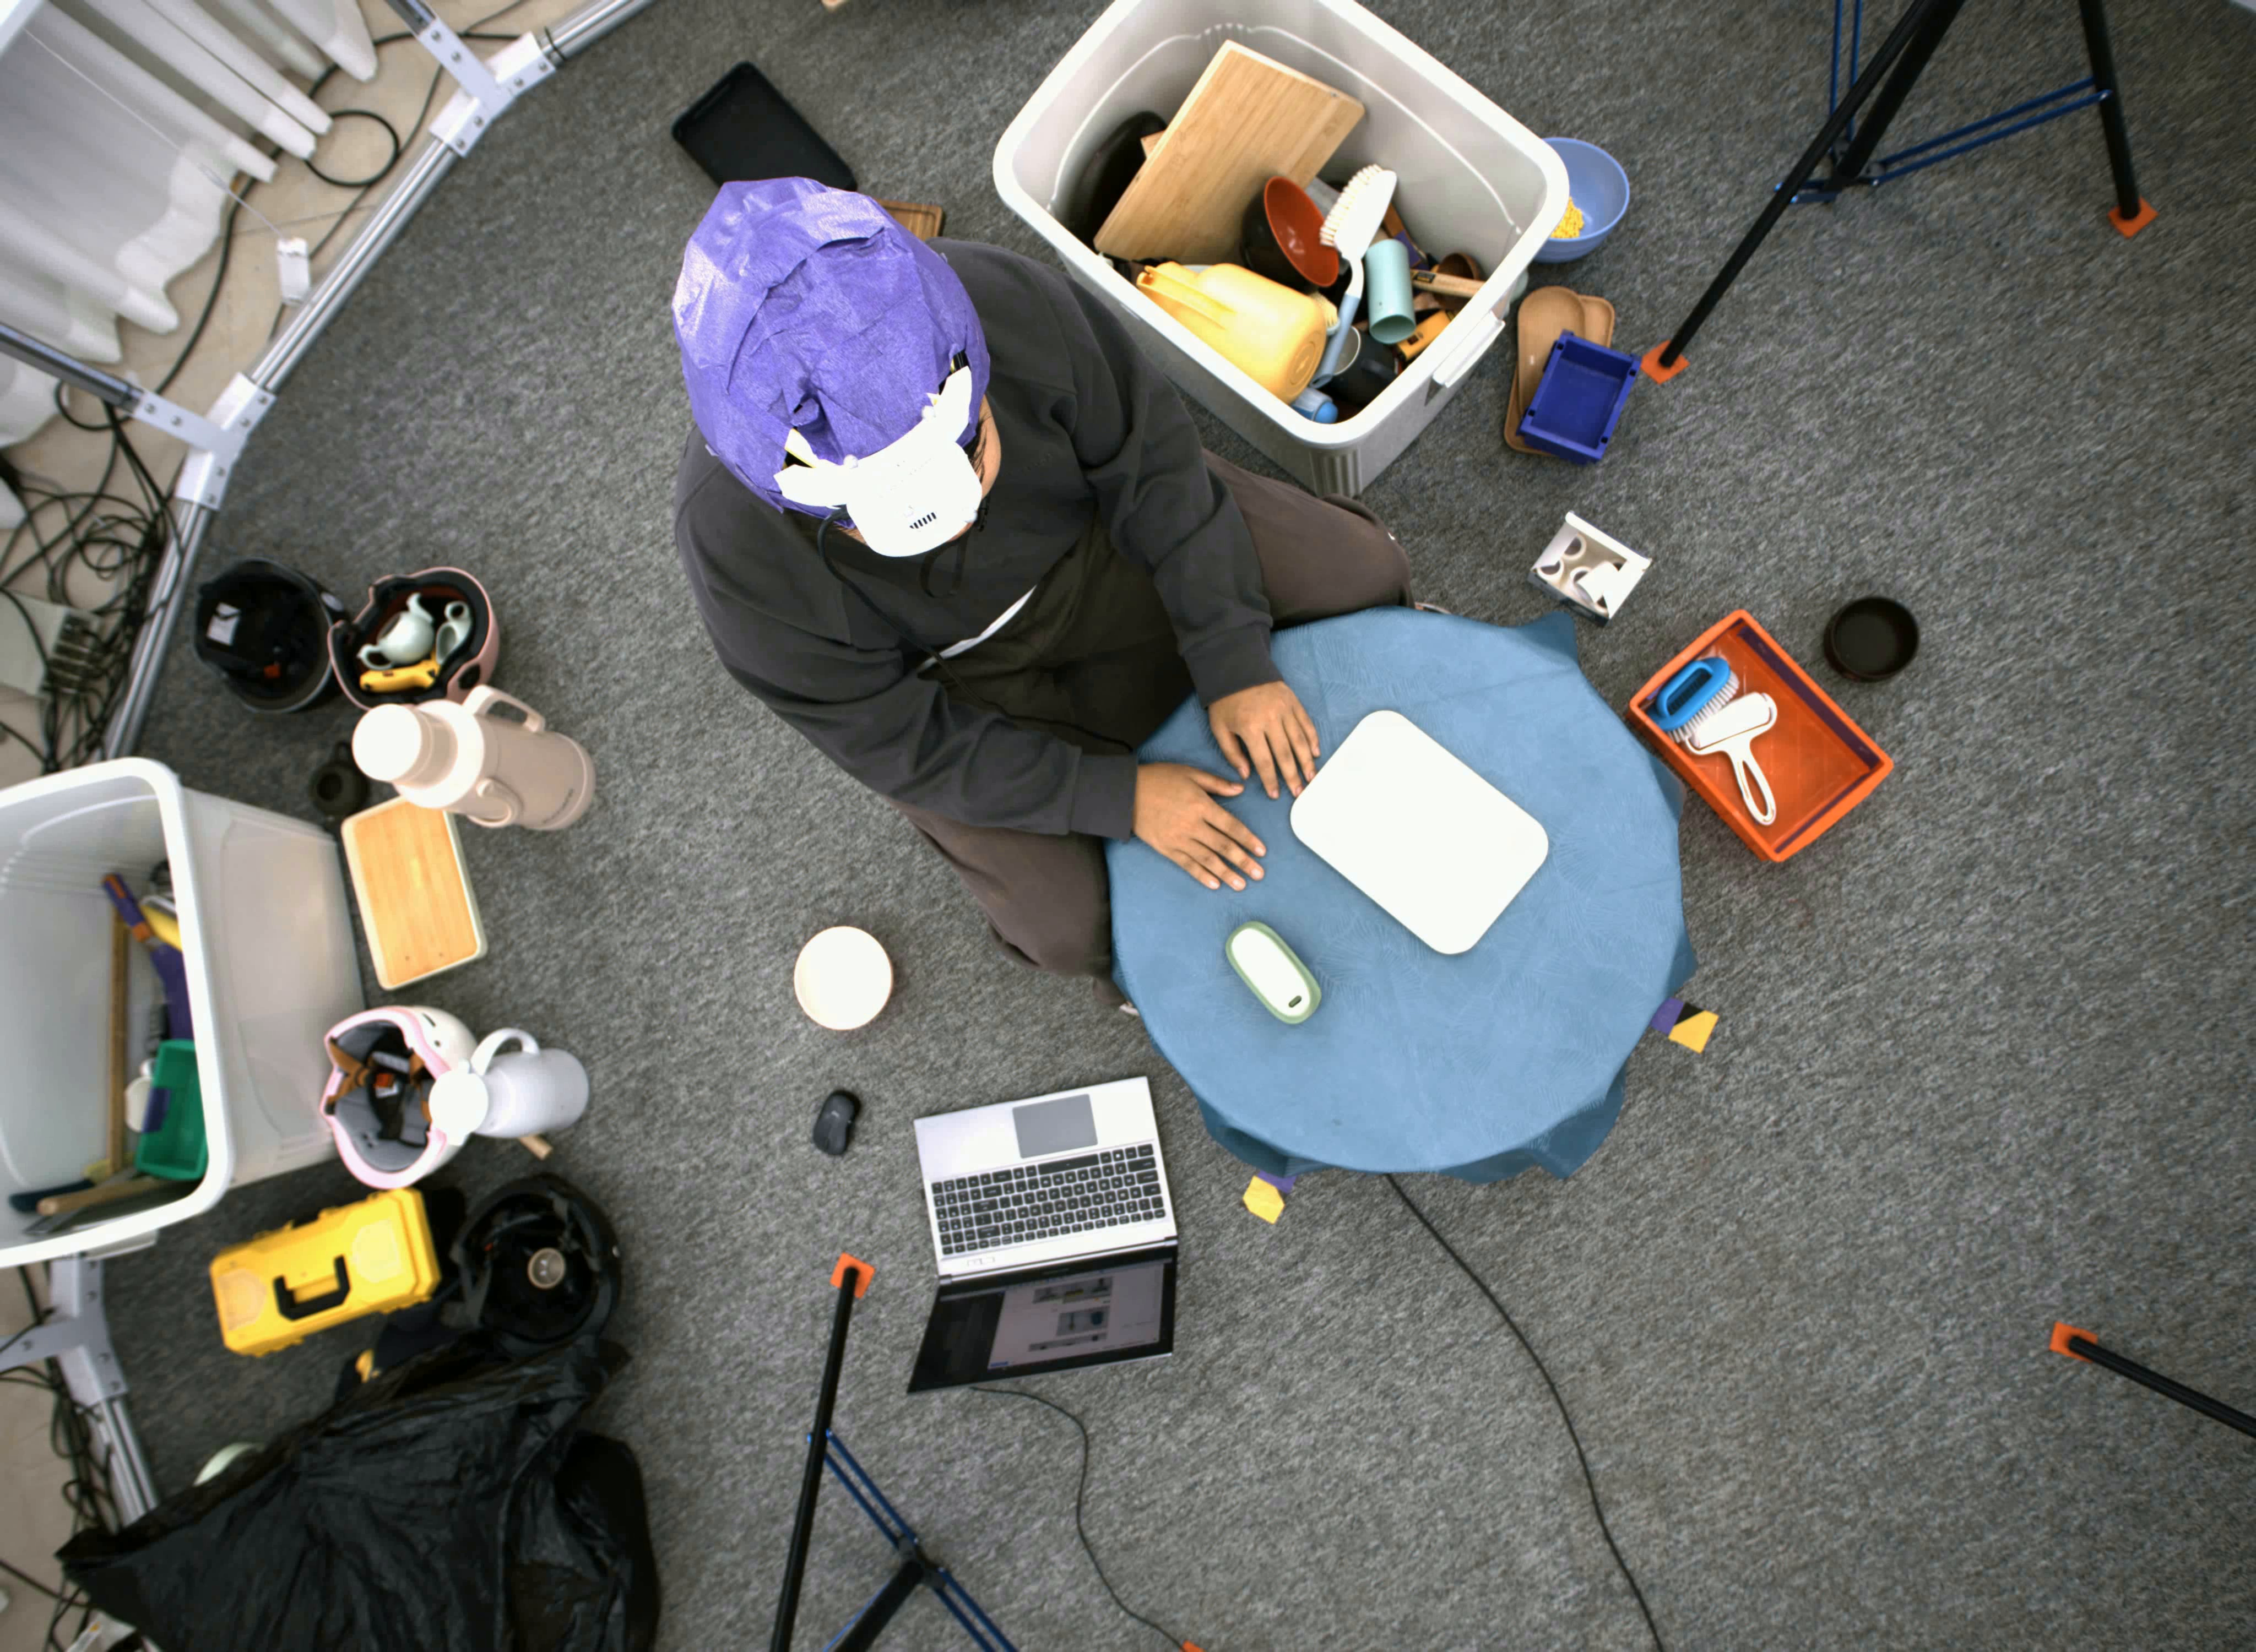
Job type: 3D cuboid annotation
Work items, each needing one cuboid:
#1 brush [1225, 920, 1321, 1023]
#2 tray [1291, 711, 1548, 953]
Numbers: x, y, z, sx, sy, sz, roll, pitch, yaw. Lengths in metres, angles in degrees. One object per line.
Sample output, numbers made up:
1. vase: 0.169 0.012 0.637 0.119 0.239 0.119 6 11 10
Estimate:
1. brush: 0.153 0.153 1.451 0.060 0.076 0.121 -41 66 3
2. tray: 0.304 0.004 1.449 0.239 0.017 0.172 40 94 11
